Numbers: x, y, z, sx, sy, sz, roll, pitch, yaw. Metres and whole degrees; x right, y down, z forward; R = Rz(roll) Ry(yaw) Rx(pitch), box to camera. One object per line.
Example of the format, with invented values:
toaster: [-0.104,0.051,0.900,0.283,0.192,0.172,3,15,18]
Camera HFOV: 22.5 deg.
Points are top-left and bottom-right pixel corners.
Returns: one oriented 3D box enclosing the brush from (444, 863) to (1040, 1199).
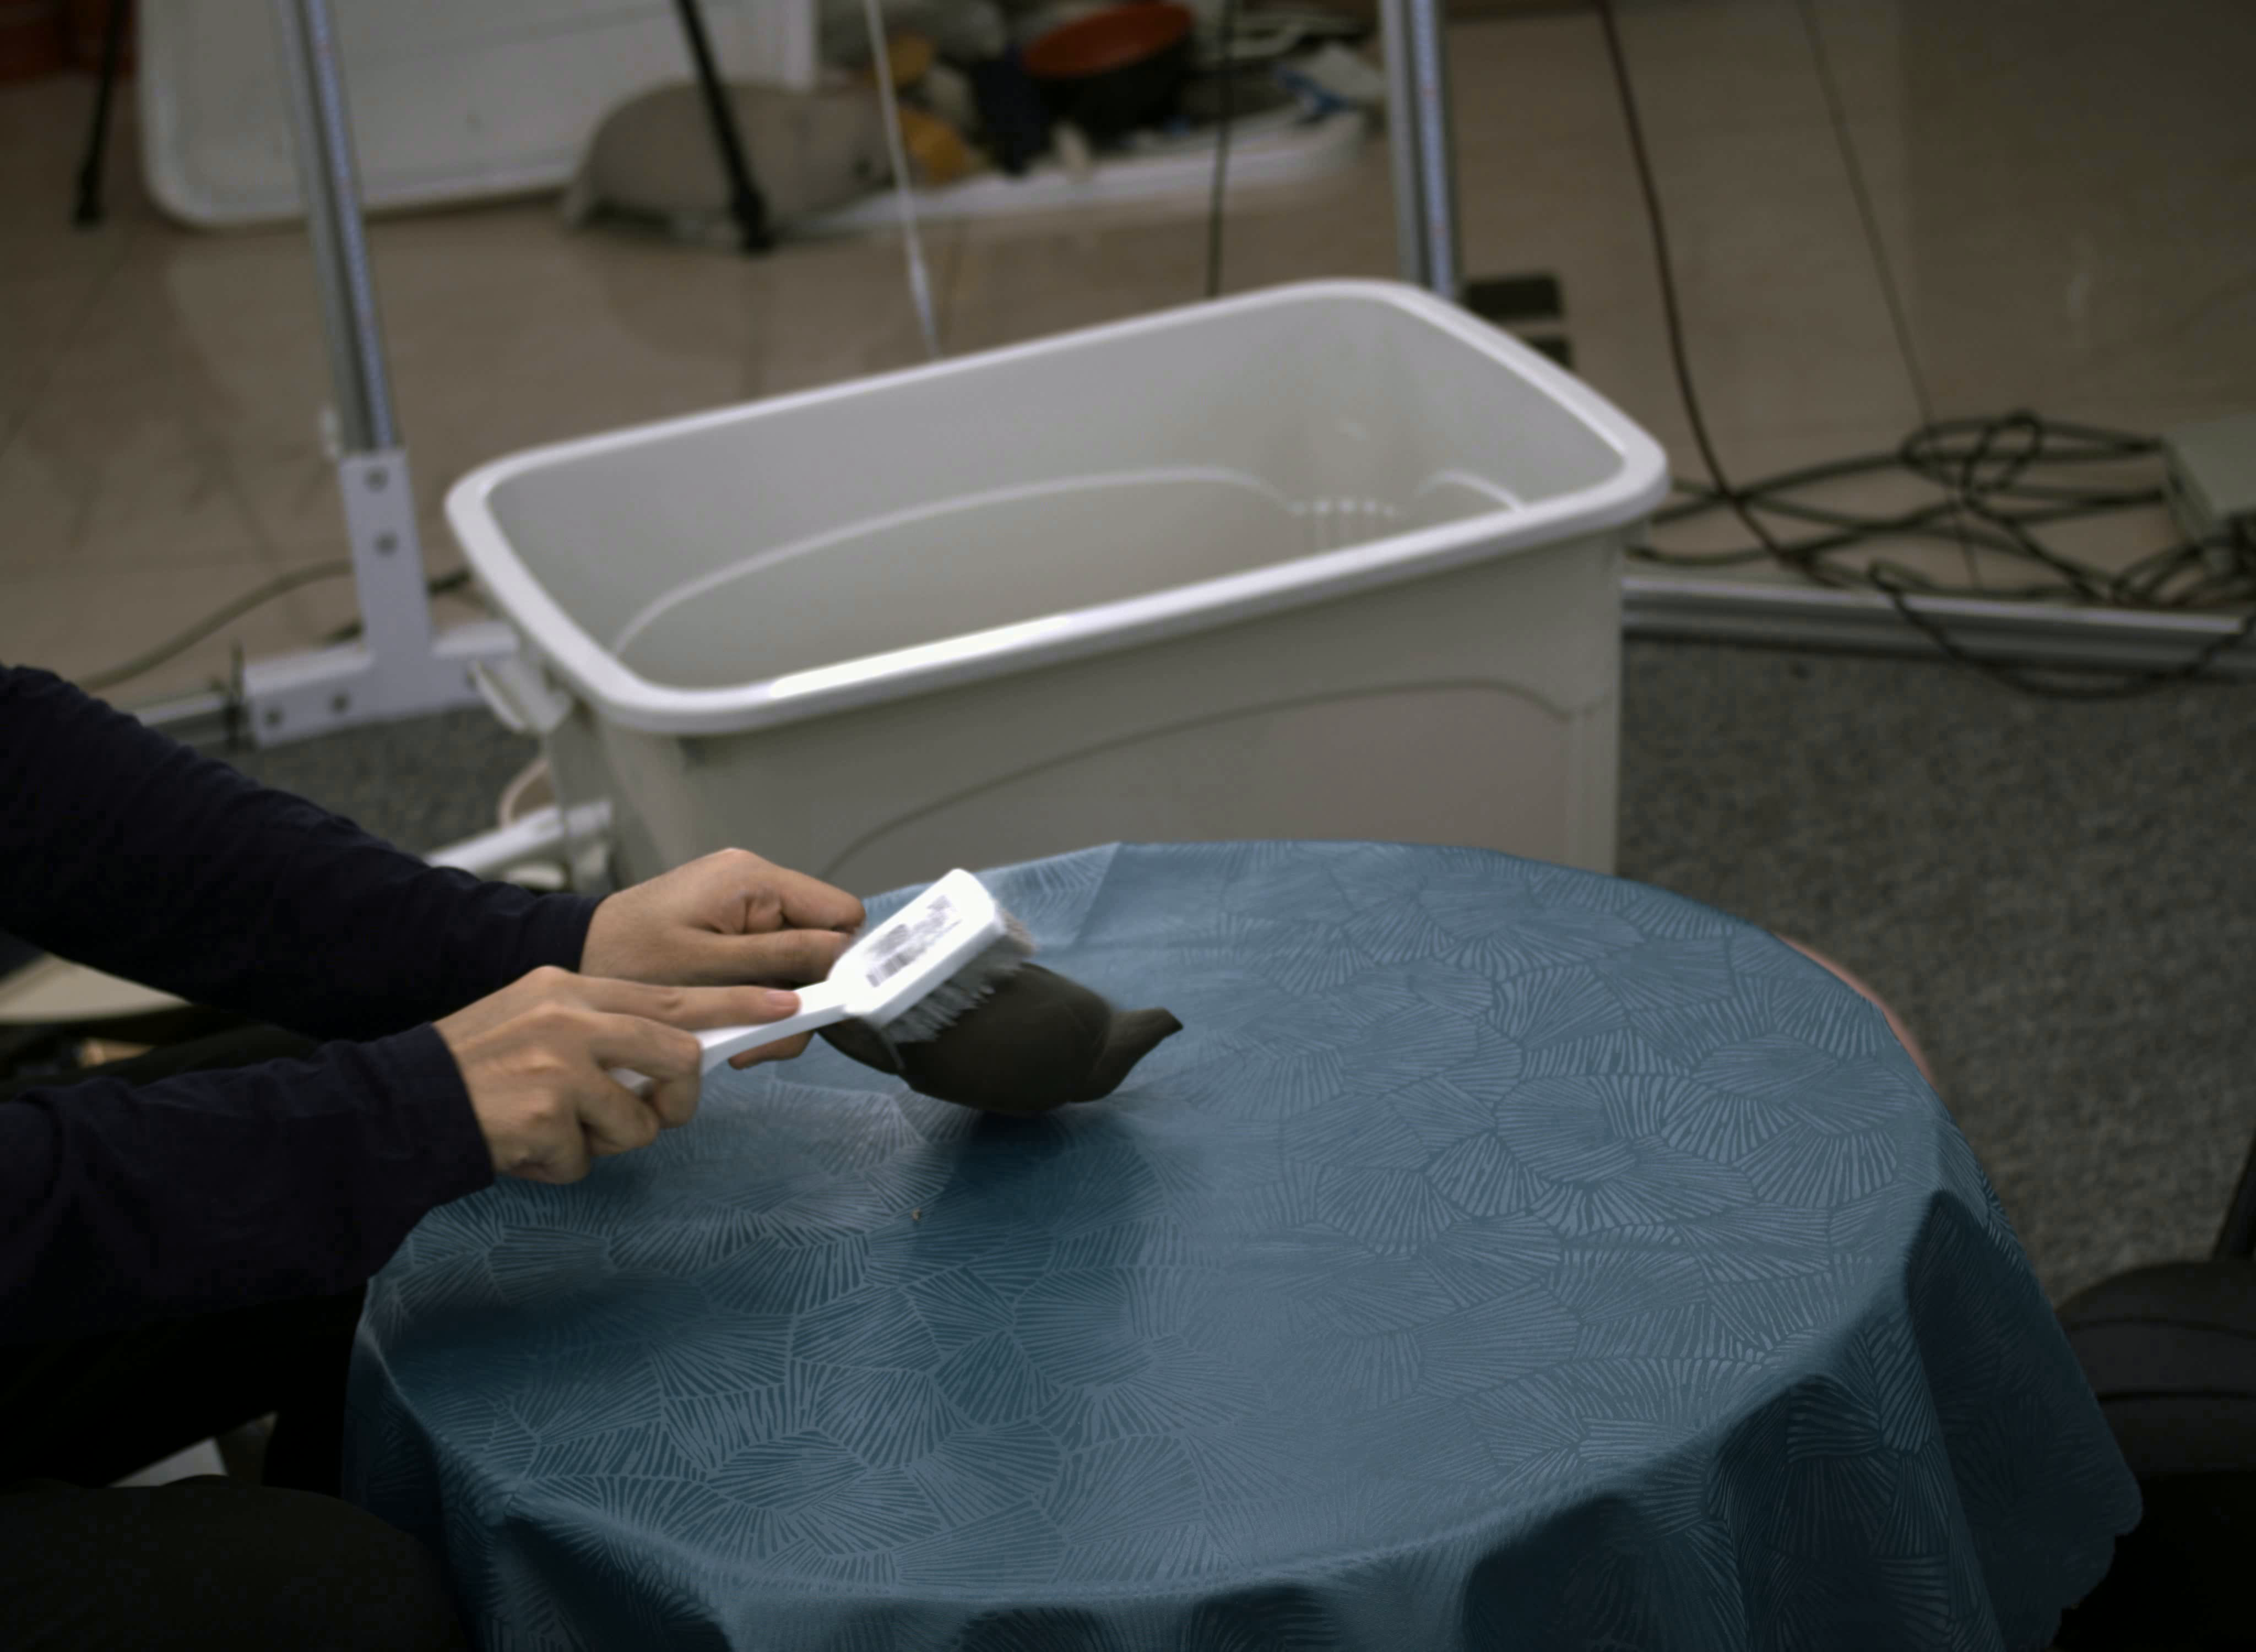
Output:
brush: [-0.143,0.086,2.122,0.242,0.051,0.034,-29,56,-13]

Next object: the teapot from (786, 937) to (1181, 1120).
teapot: [-0.058,0.078,2.200,0.154,0.064,0.092,13,1,-6]
